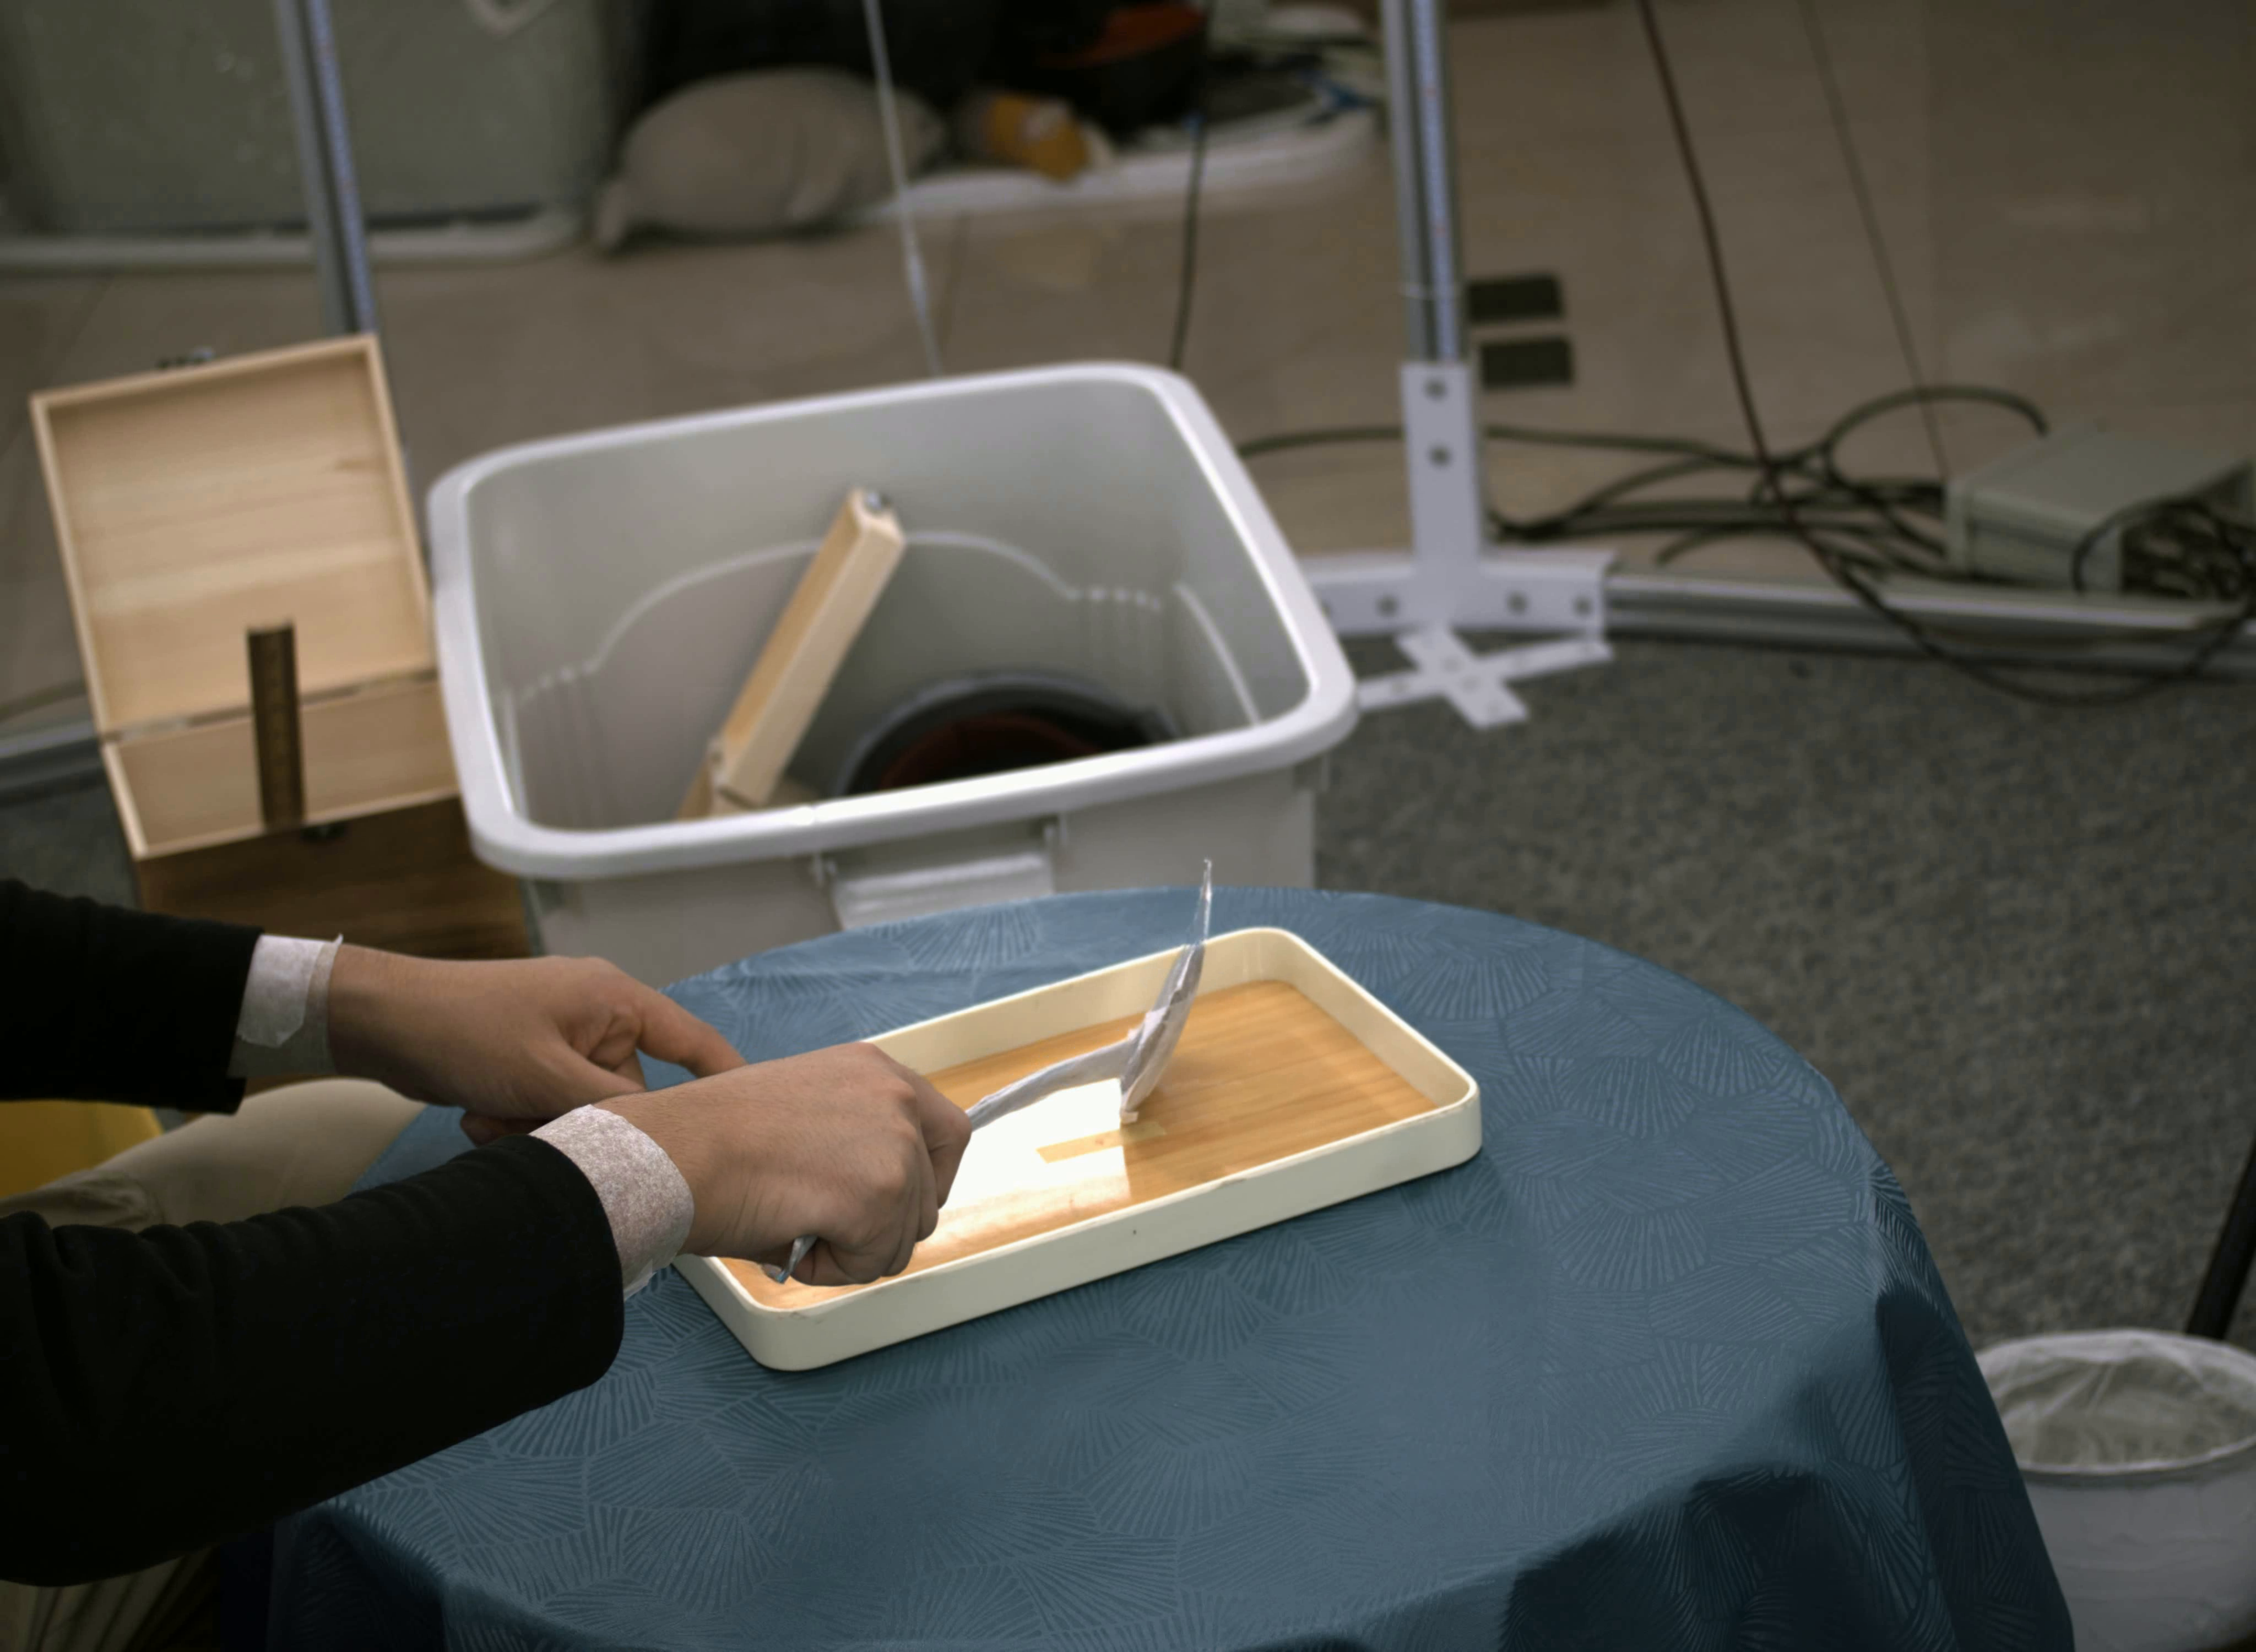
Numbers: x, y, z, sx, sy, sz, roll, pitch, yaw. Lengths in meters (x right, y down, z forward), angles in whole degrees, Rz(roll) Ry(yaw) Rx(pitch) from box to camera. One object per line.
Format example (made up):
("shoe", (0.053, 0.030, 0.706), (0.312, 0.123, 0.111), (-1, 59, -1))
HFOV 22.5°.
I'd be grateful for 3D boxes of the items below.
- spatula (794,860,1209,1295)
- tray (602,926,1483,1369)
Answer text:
("spatula", (-0.045, 0.098, 2.065), (0.044, 0.100, 0.362), (31, 25, 17))
("tray", (-0.034, 0.119, 2.167), (0.299, 0.028, 0.189), (-16, 26, -19))
